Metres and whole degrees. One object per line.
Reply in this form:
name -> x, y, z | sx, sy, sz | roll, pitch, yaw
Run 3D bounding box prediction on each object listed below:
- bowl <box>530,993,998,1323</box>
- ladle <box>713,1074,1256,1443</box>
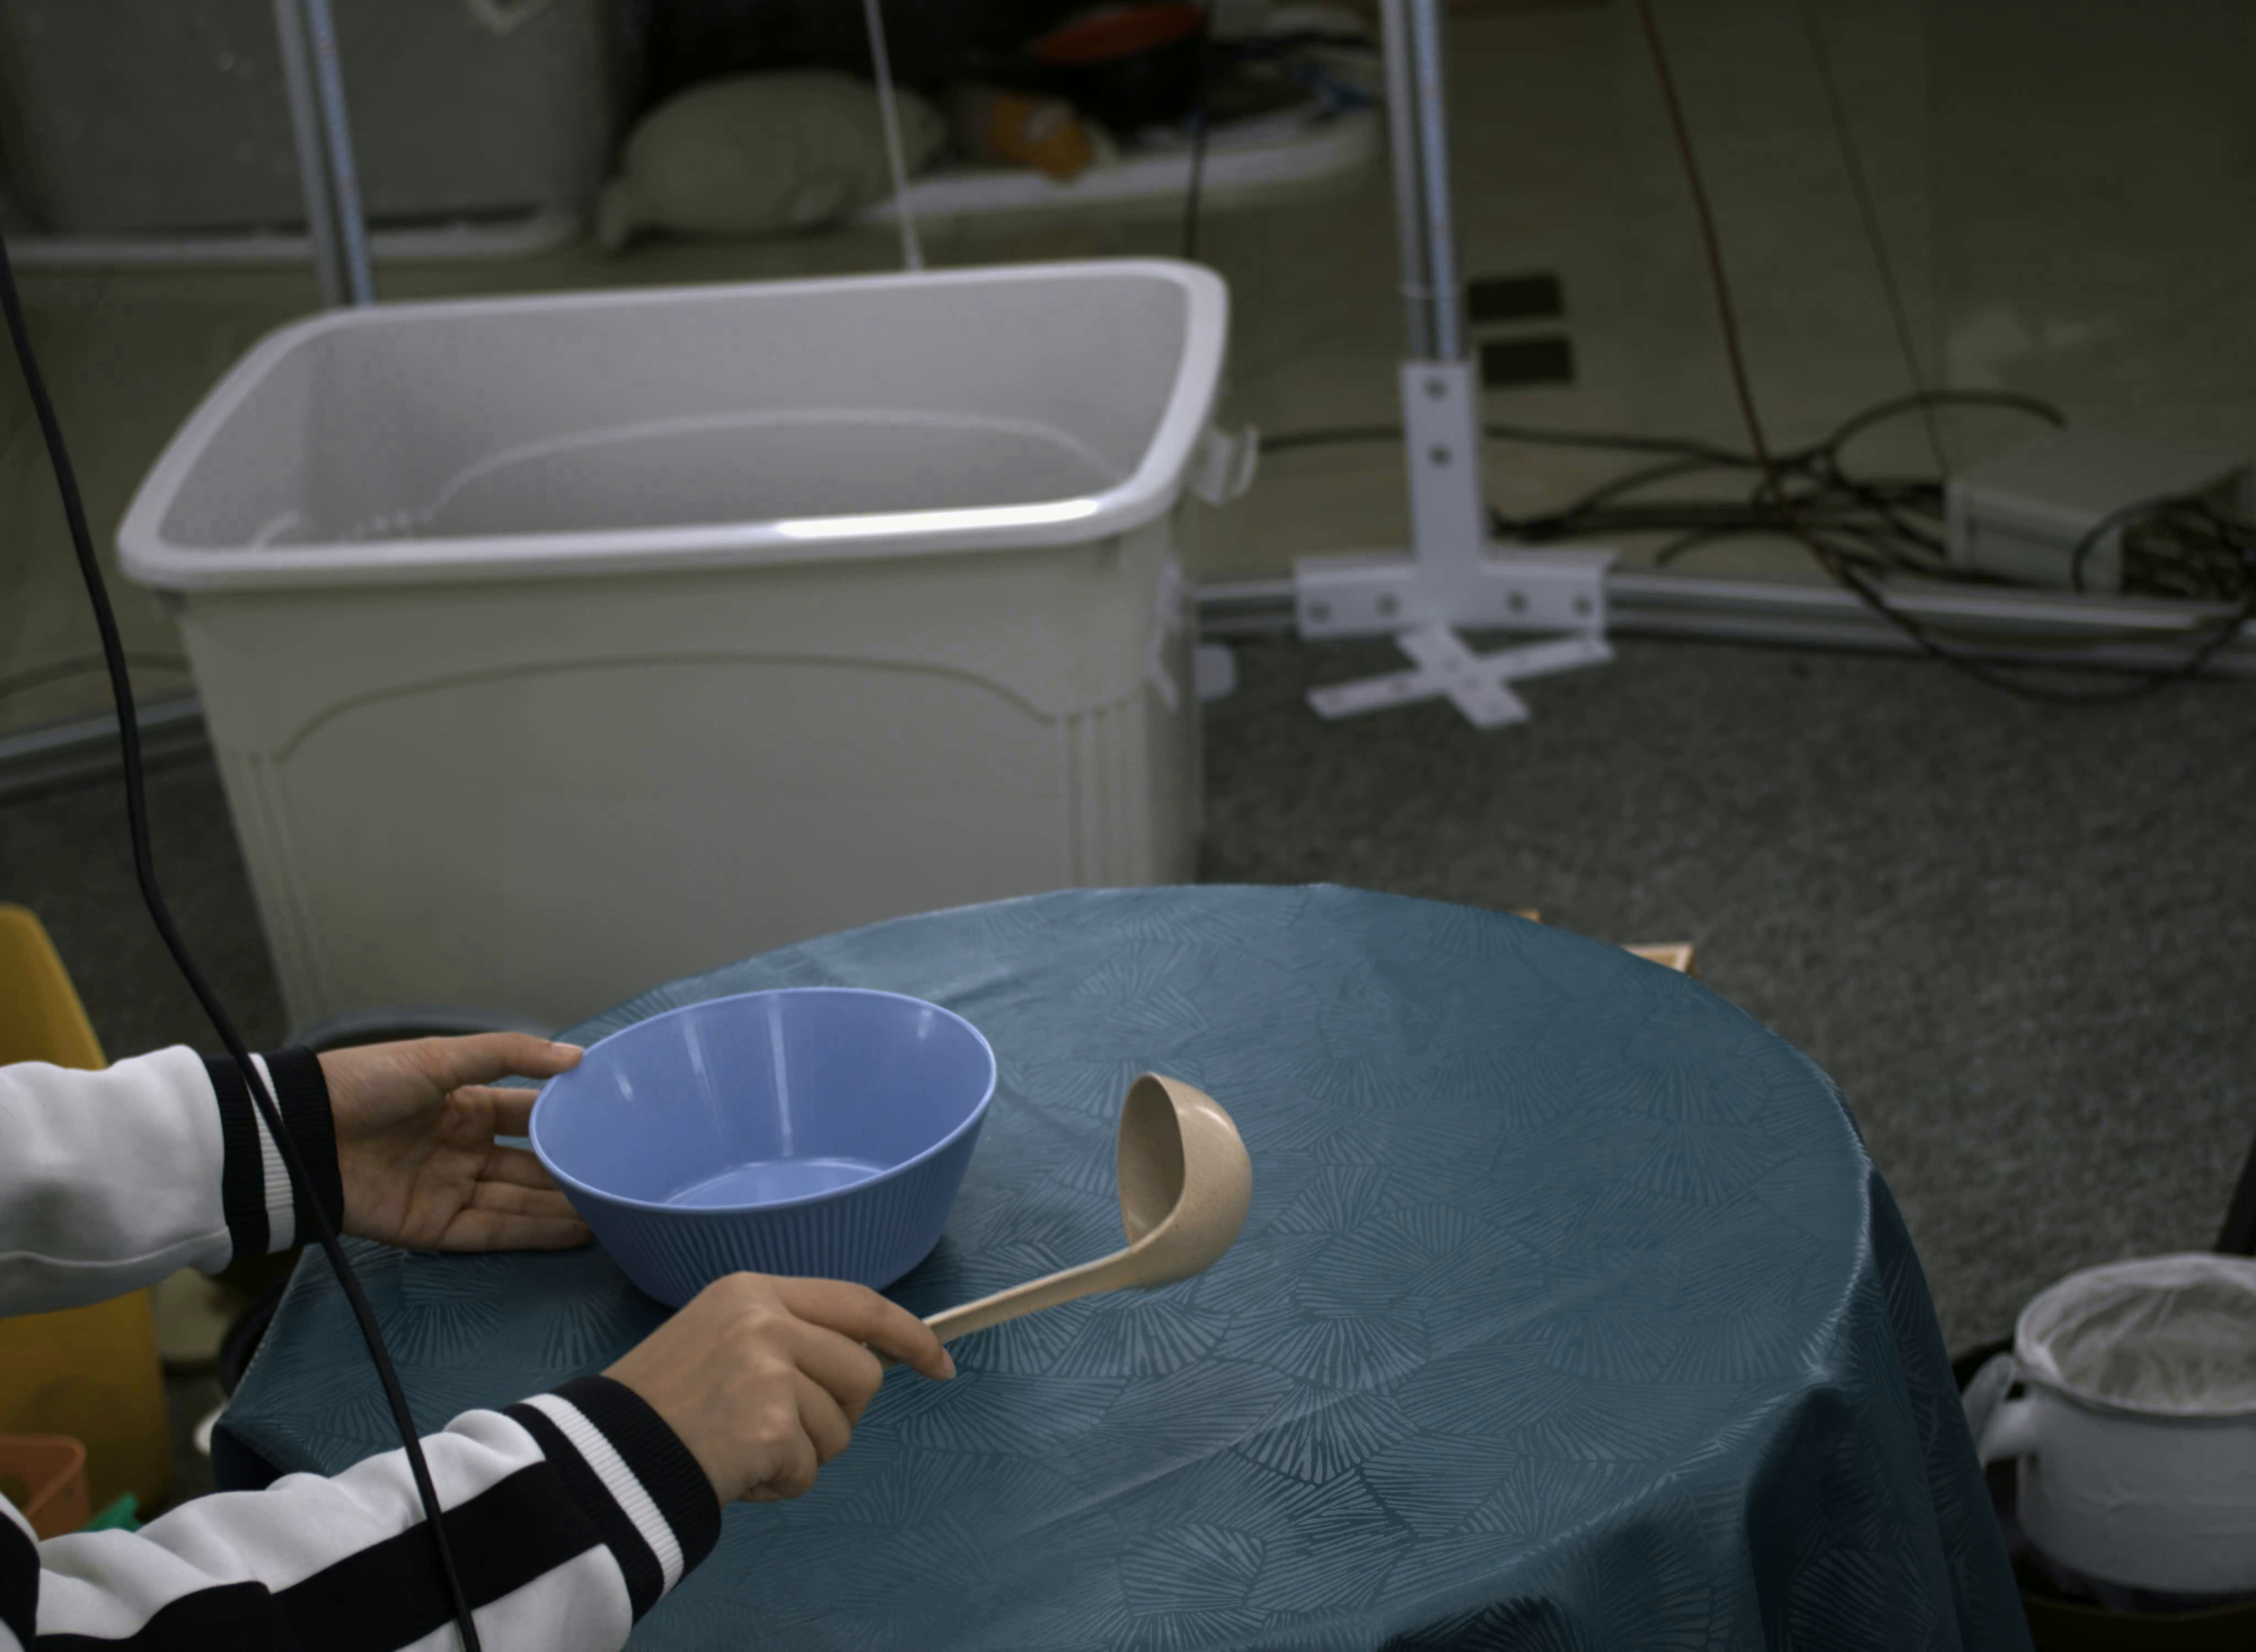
bowl -> -0.132, 0.130, 2.117 | 0.176, 0.071, 0.173 | -6, 24, 3
ladle -> -0.060, 0.143, 1.883 | 0.253, 0.073, 0.072 | -16, 52, -41
